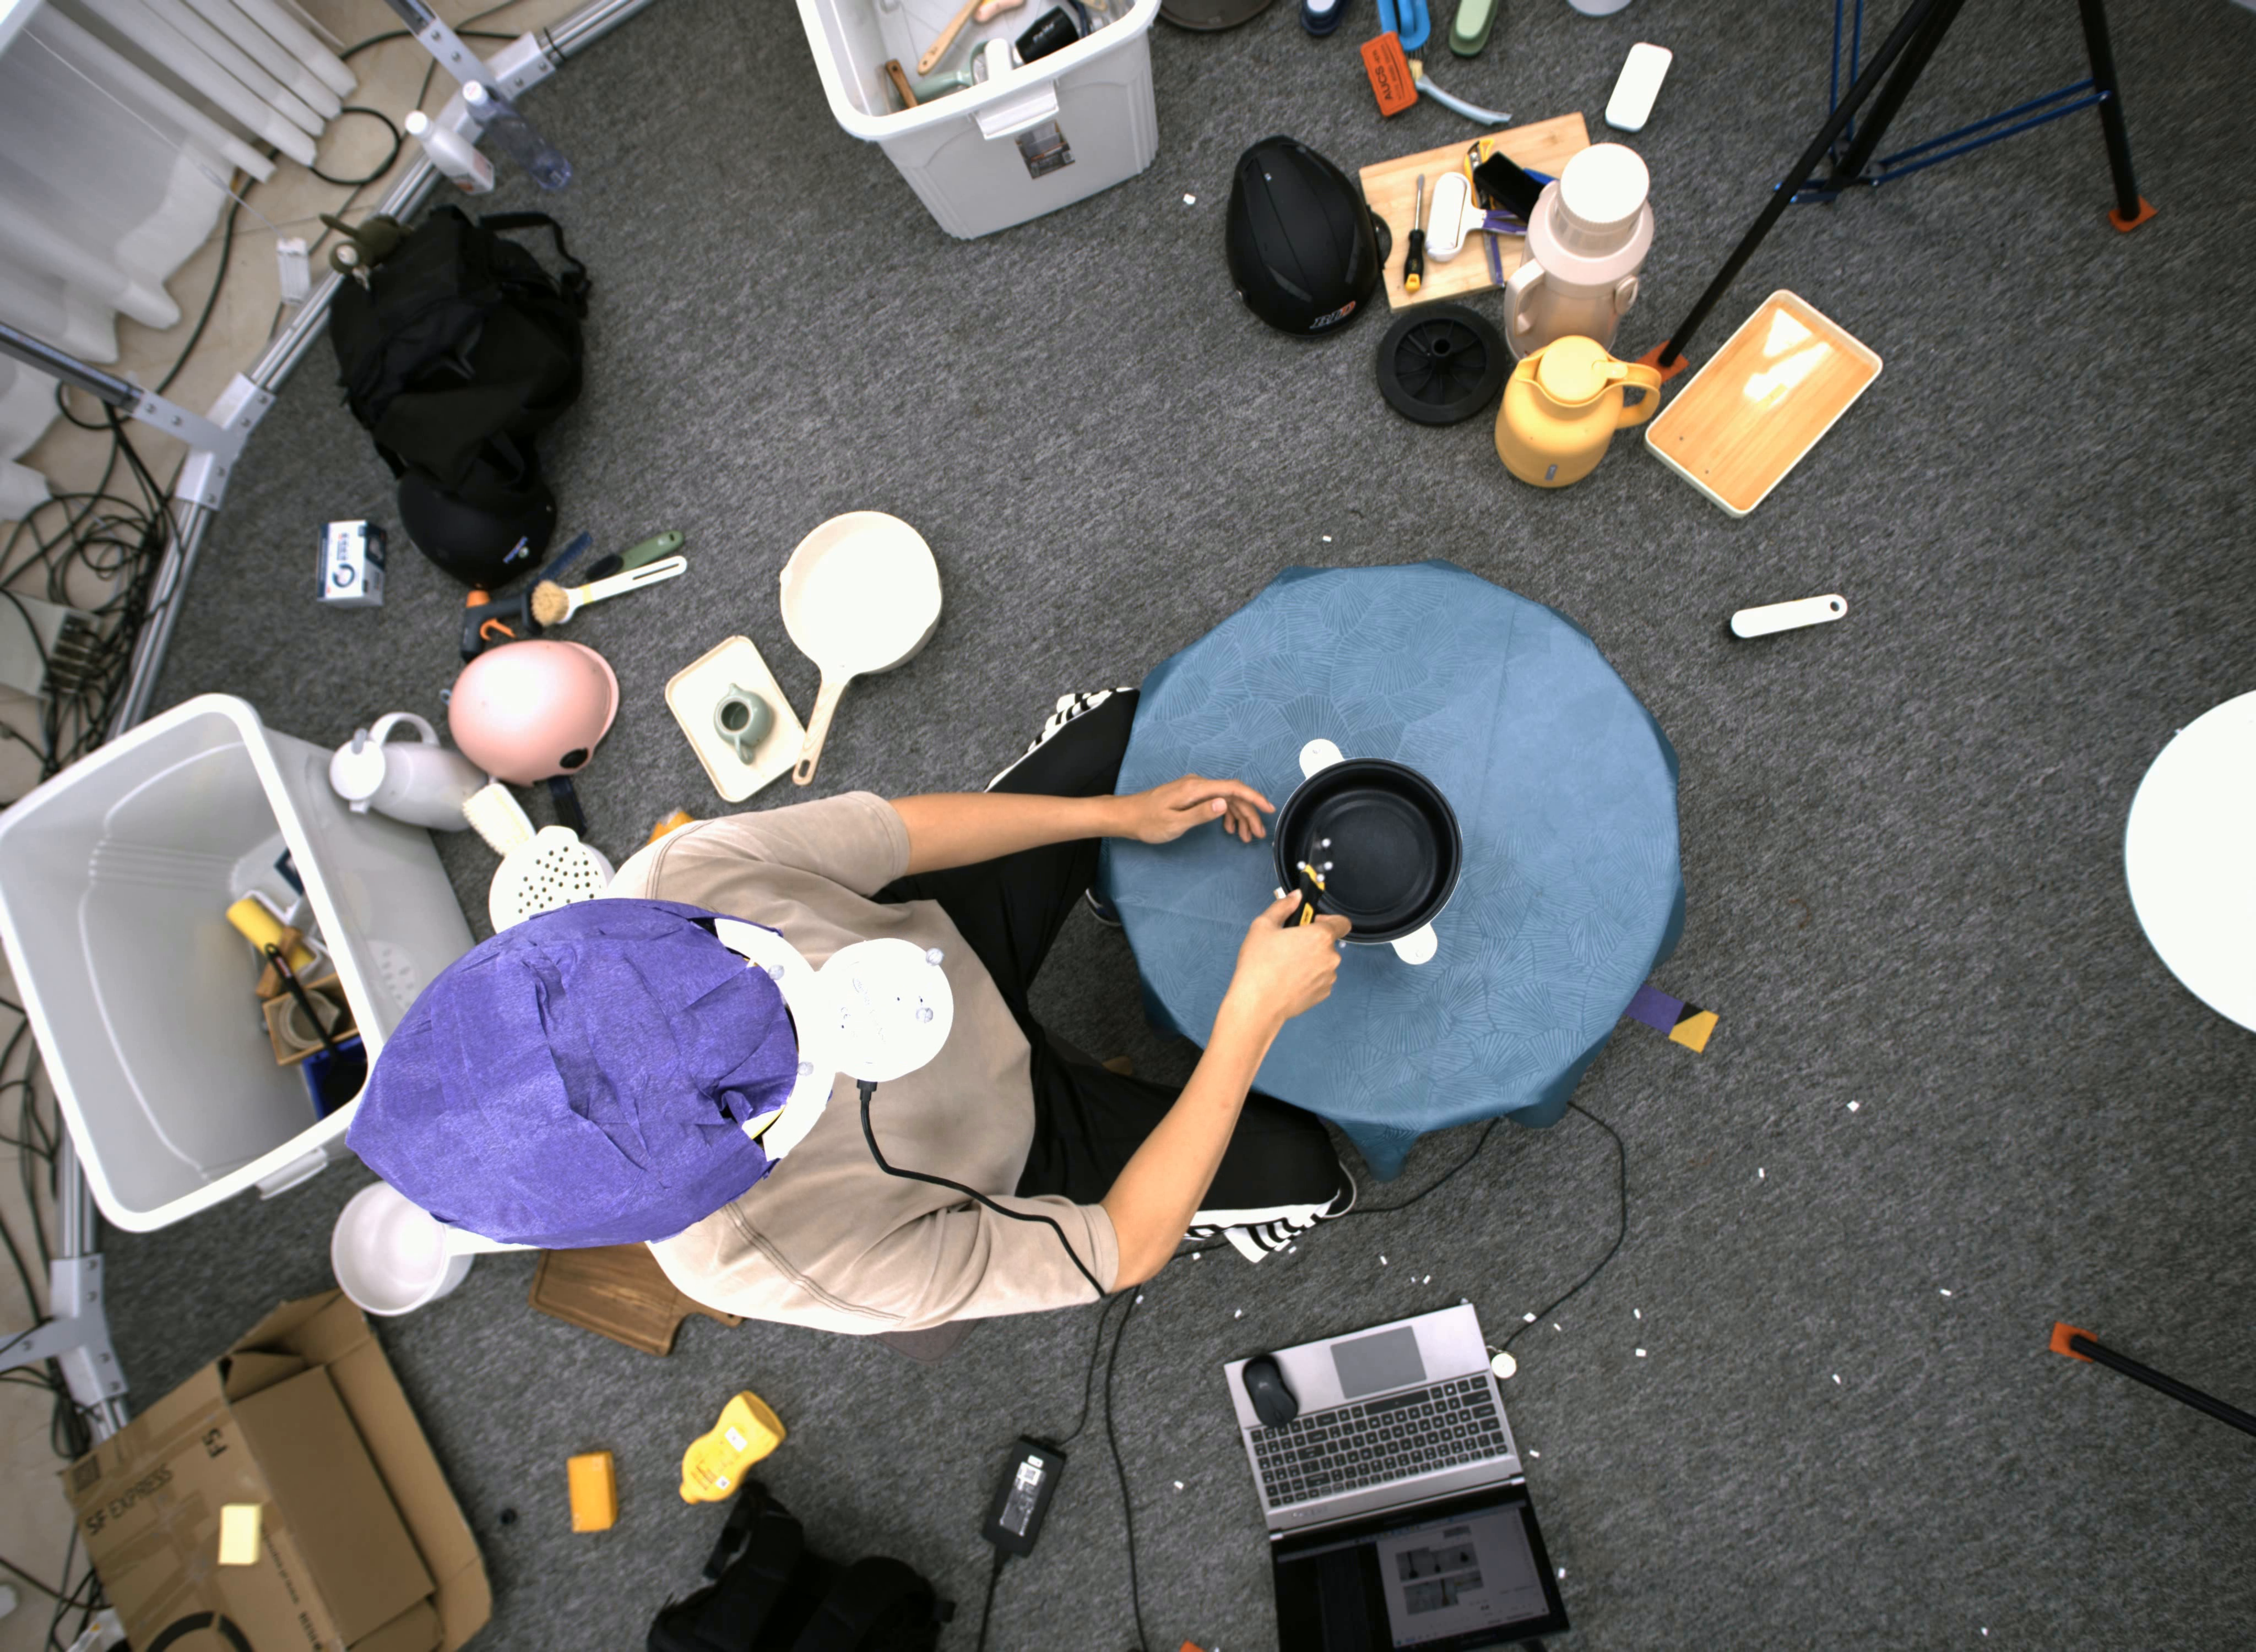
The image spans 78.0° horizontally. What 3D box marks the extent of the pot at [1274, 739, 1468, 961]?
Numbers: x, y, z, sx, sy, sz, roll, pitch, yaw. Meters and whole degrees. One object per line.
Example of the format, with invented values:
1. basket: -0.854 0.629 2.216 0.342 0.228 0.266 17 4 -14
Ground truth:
1. pot: 0.238 0.032 1.399 0.191 0.143 0.238 -27 80 3

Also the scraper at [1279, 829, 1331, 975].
1. scraper: 0.169 0.072 1.313 0.015 0.166 0.039 -17 127 36
